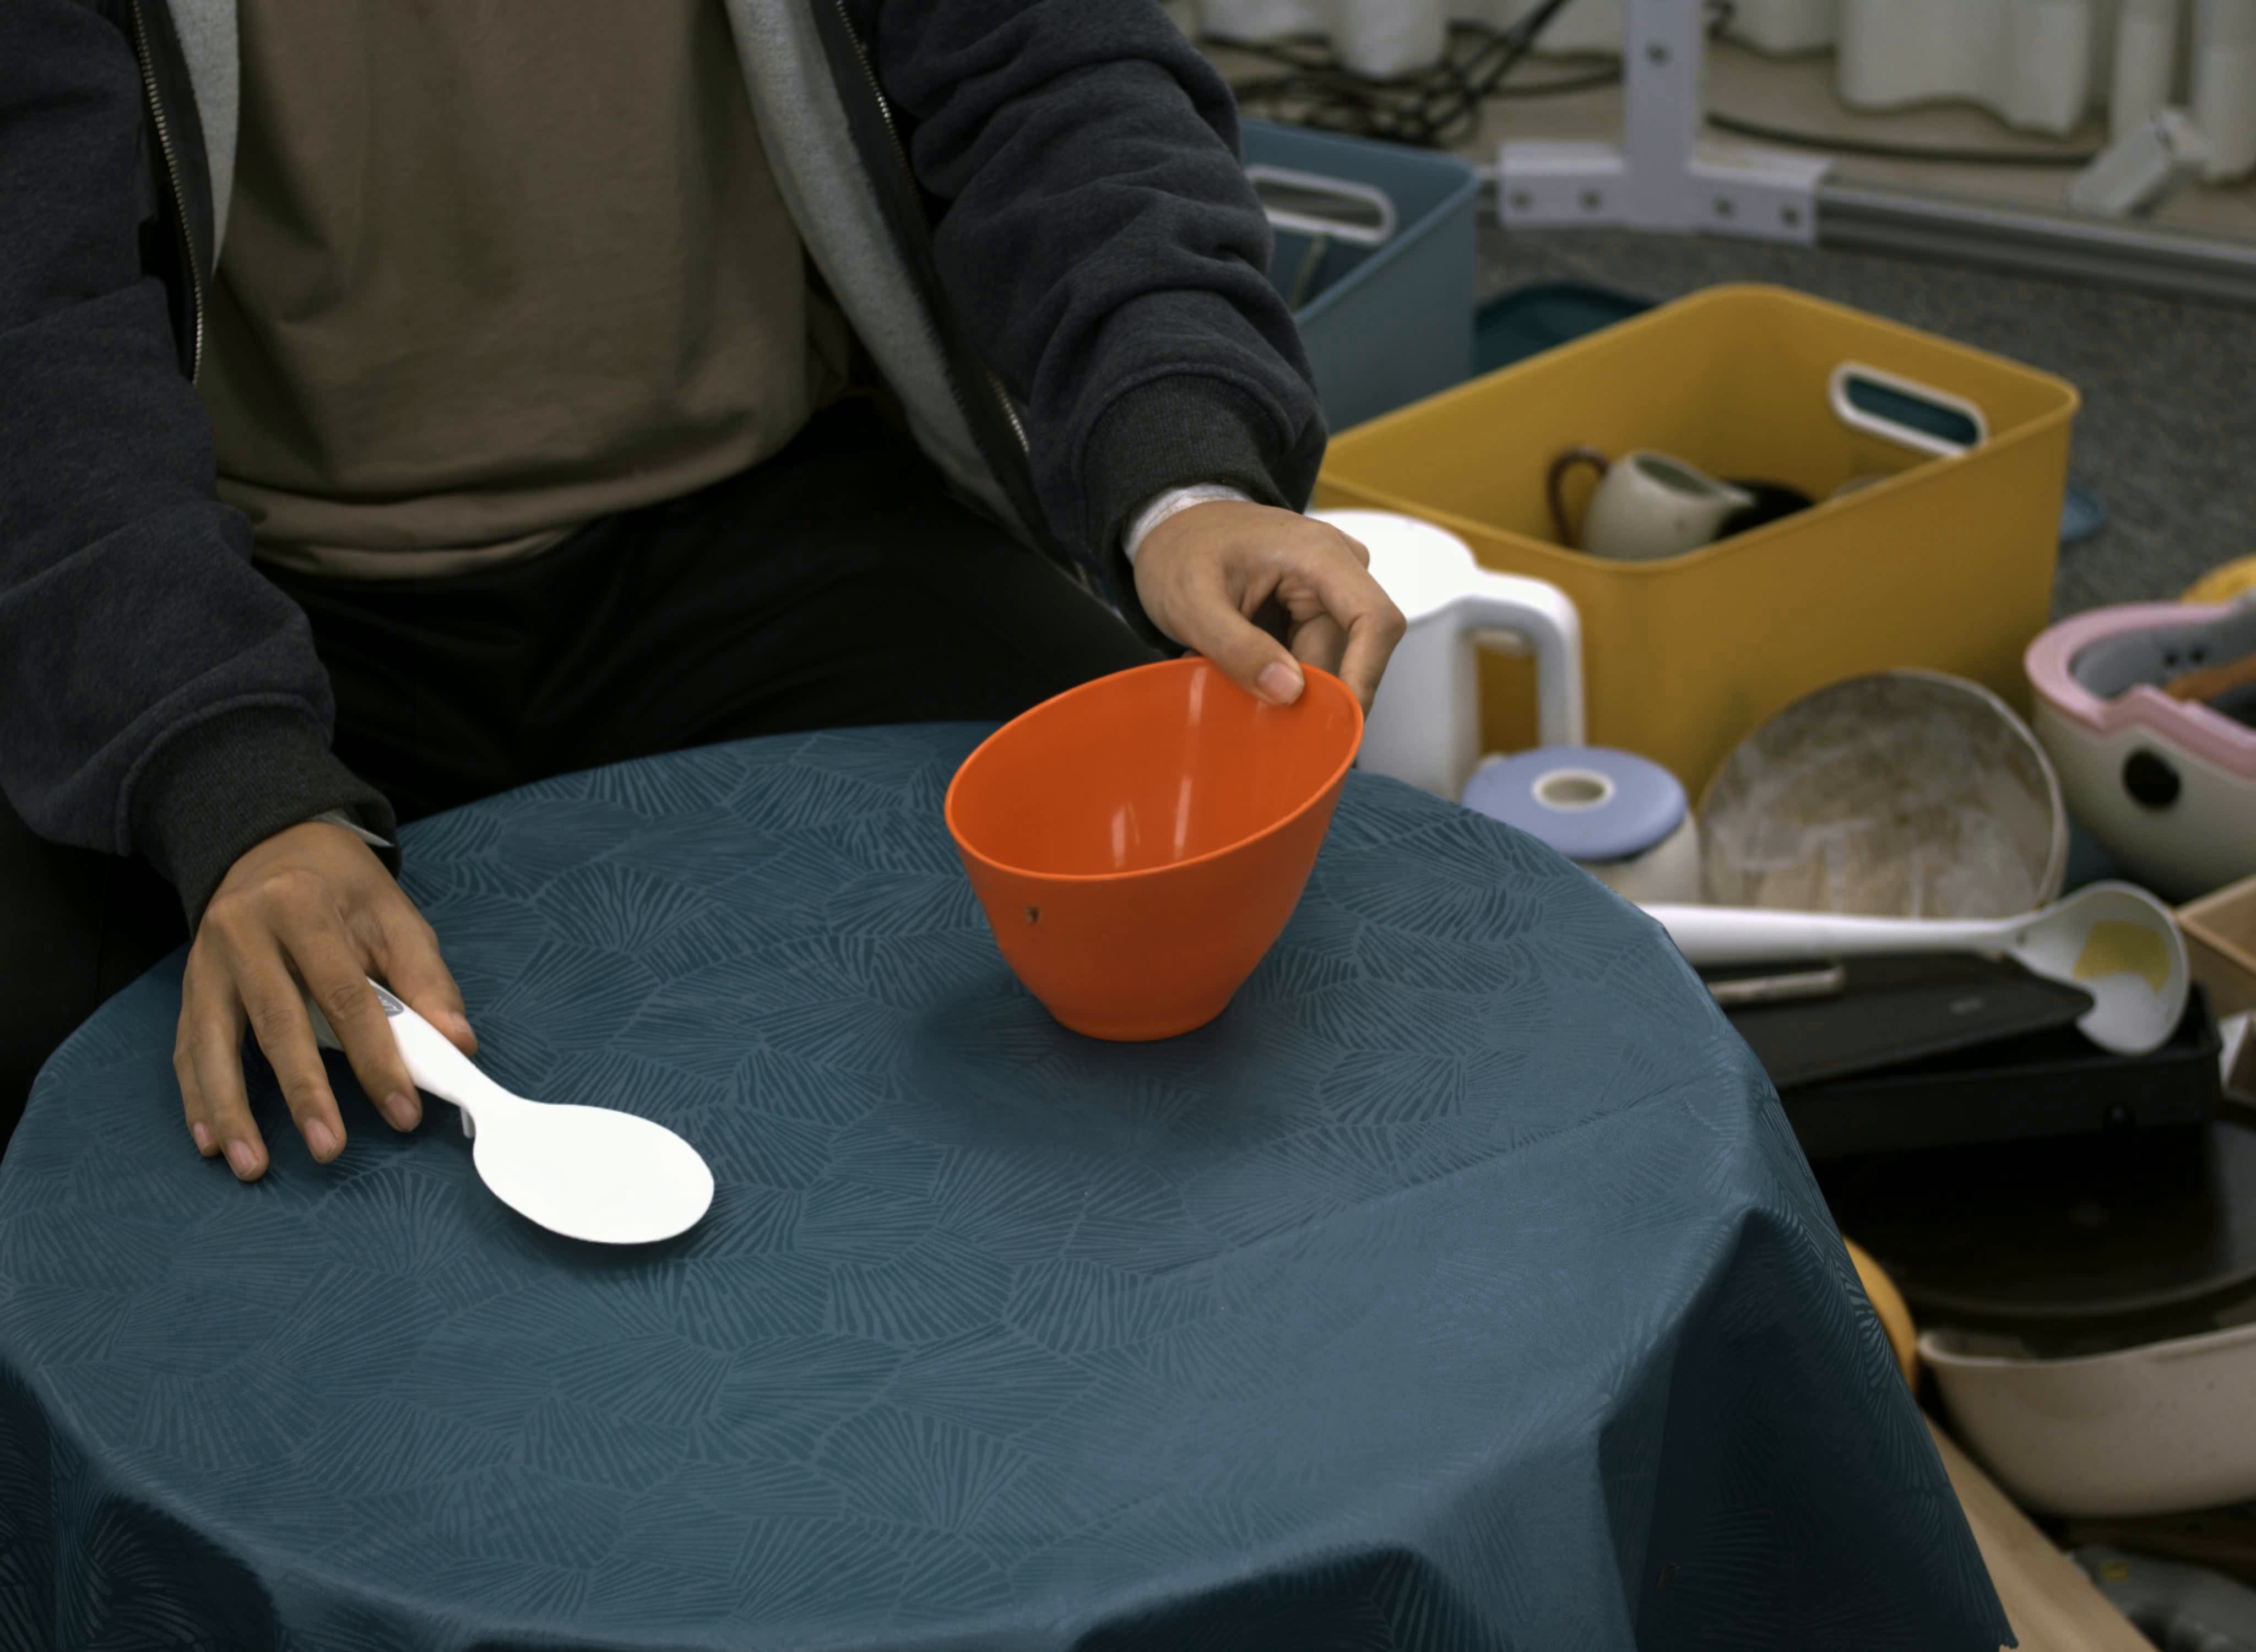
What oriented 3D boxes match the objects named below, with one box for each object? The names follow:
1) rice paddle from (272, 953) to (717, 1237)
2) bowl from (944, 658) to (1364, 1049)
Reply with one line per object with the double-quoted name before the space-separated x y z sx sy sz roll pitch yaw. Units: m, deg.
"rice paddle" -0.216 0.093 1.899 0.069 0.029 0.205 -25 37 -37
"bowl" 0.012 0.016 1.956 0.147 0.103 0.150 -3 28 2
